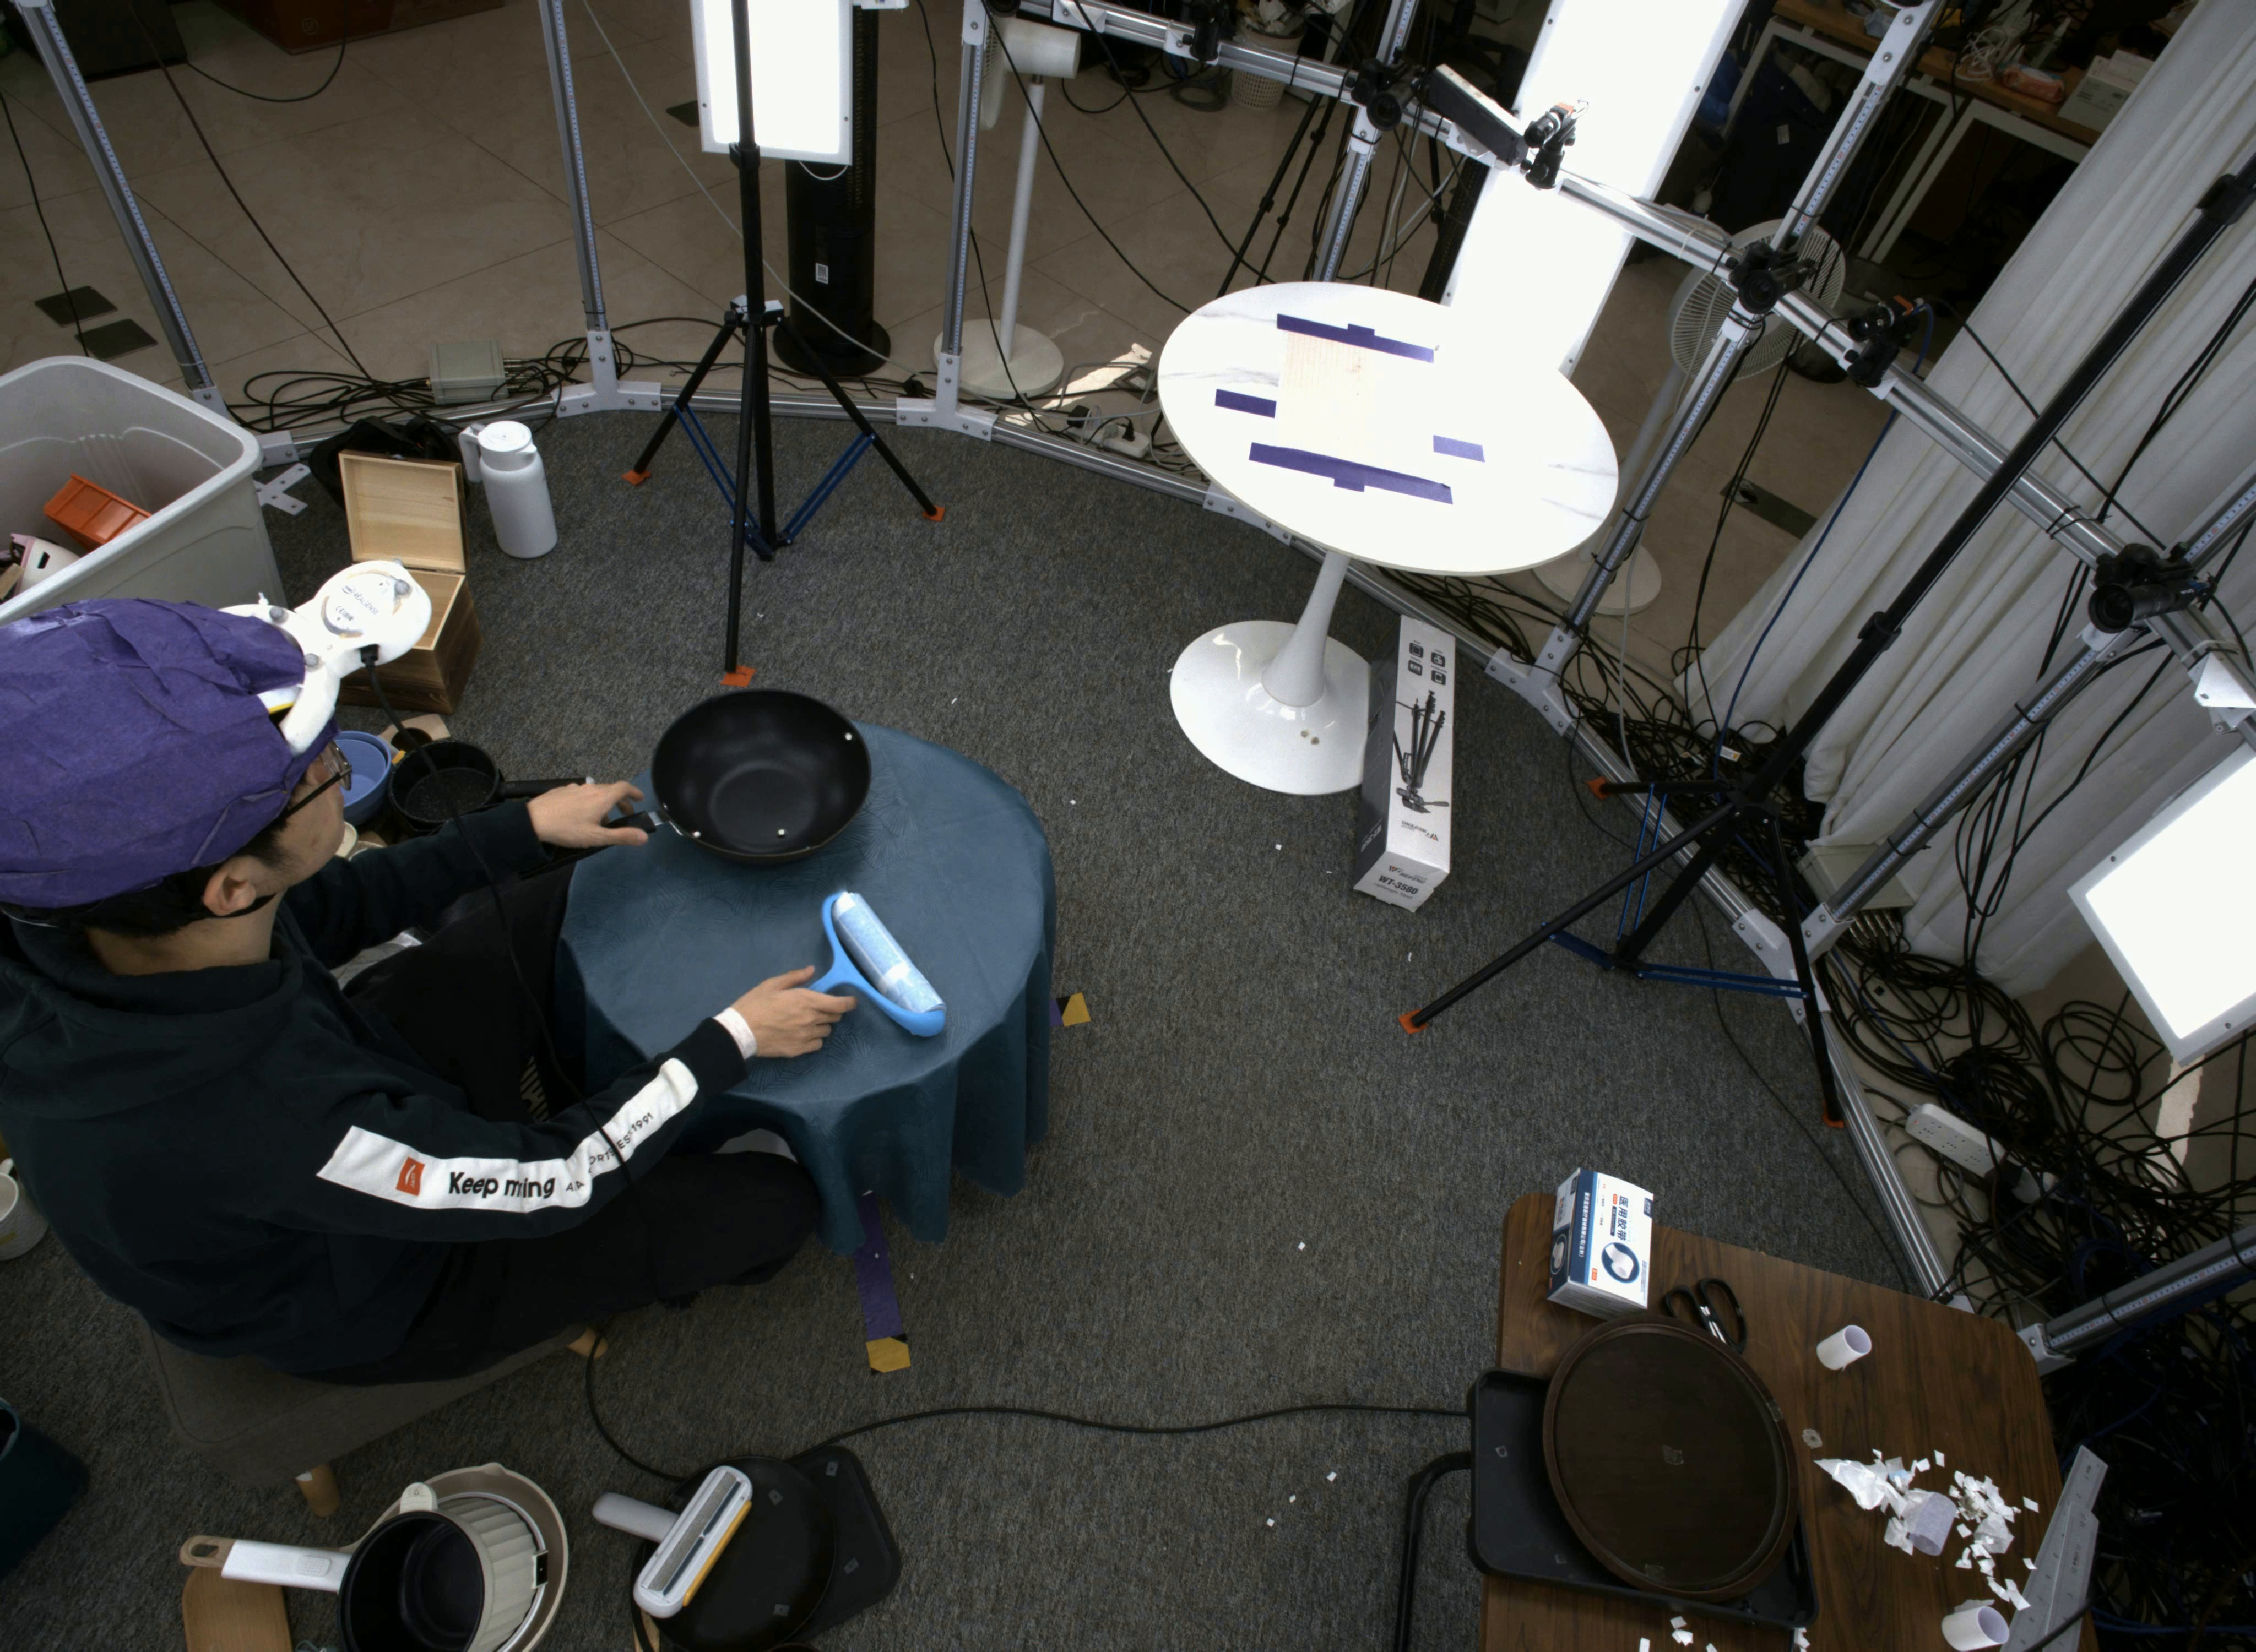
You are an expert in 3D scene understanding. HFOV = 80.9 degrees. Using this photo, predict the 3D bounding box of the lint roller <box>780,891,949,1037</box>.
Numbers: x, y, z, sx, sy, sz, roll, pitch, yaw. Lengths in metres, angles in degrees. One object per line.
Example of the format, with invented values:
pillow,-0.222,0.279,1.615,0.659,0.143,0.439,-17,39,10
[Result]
lint roller,-0.341,0.190,1.575,0.181,0.069,0.224,-33,70,-33

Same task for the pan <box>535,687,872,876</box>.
pan,-0.549,-0.016,1.656,0.465,0.088,0.281,-27,64,-29
